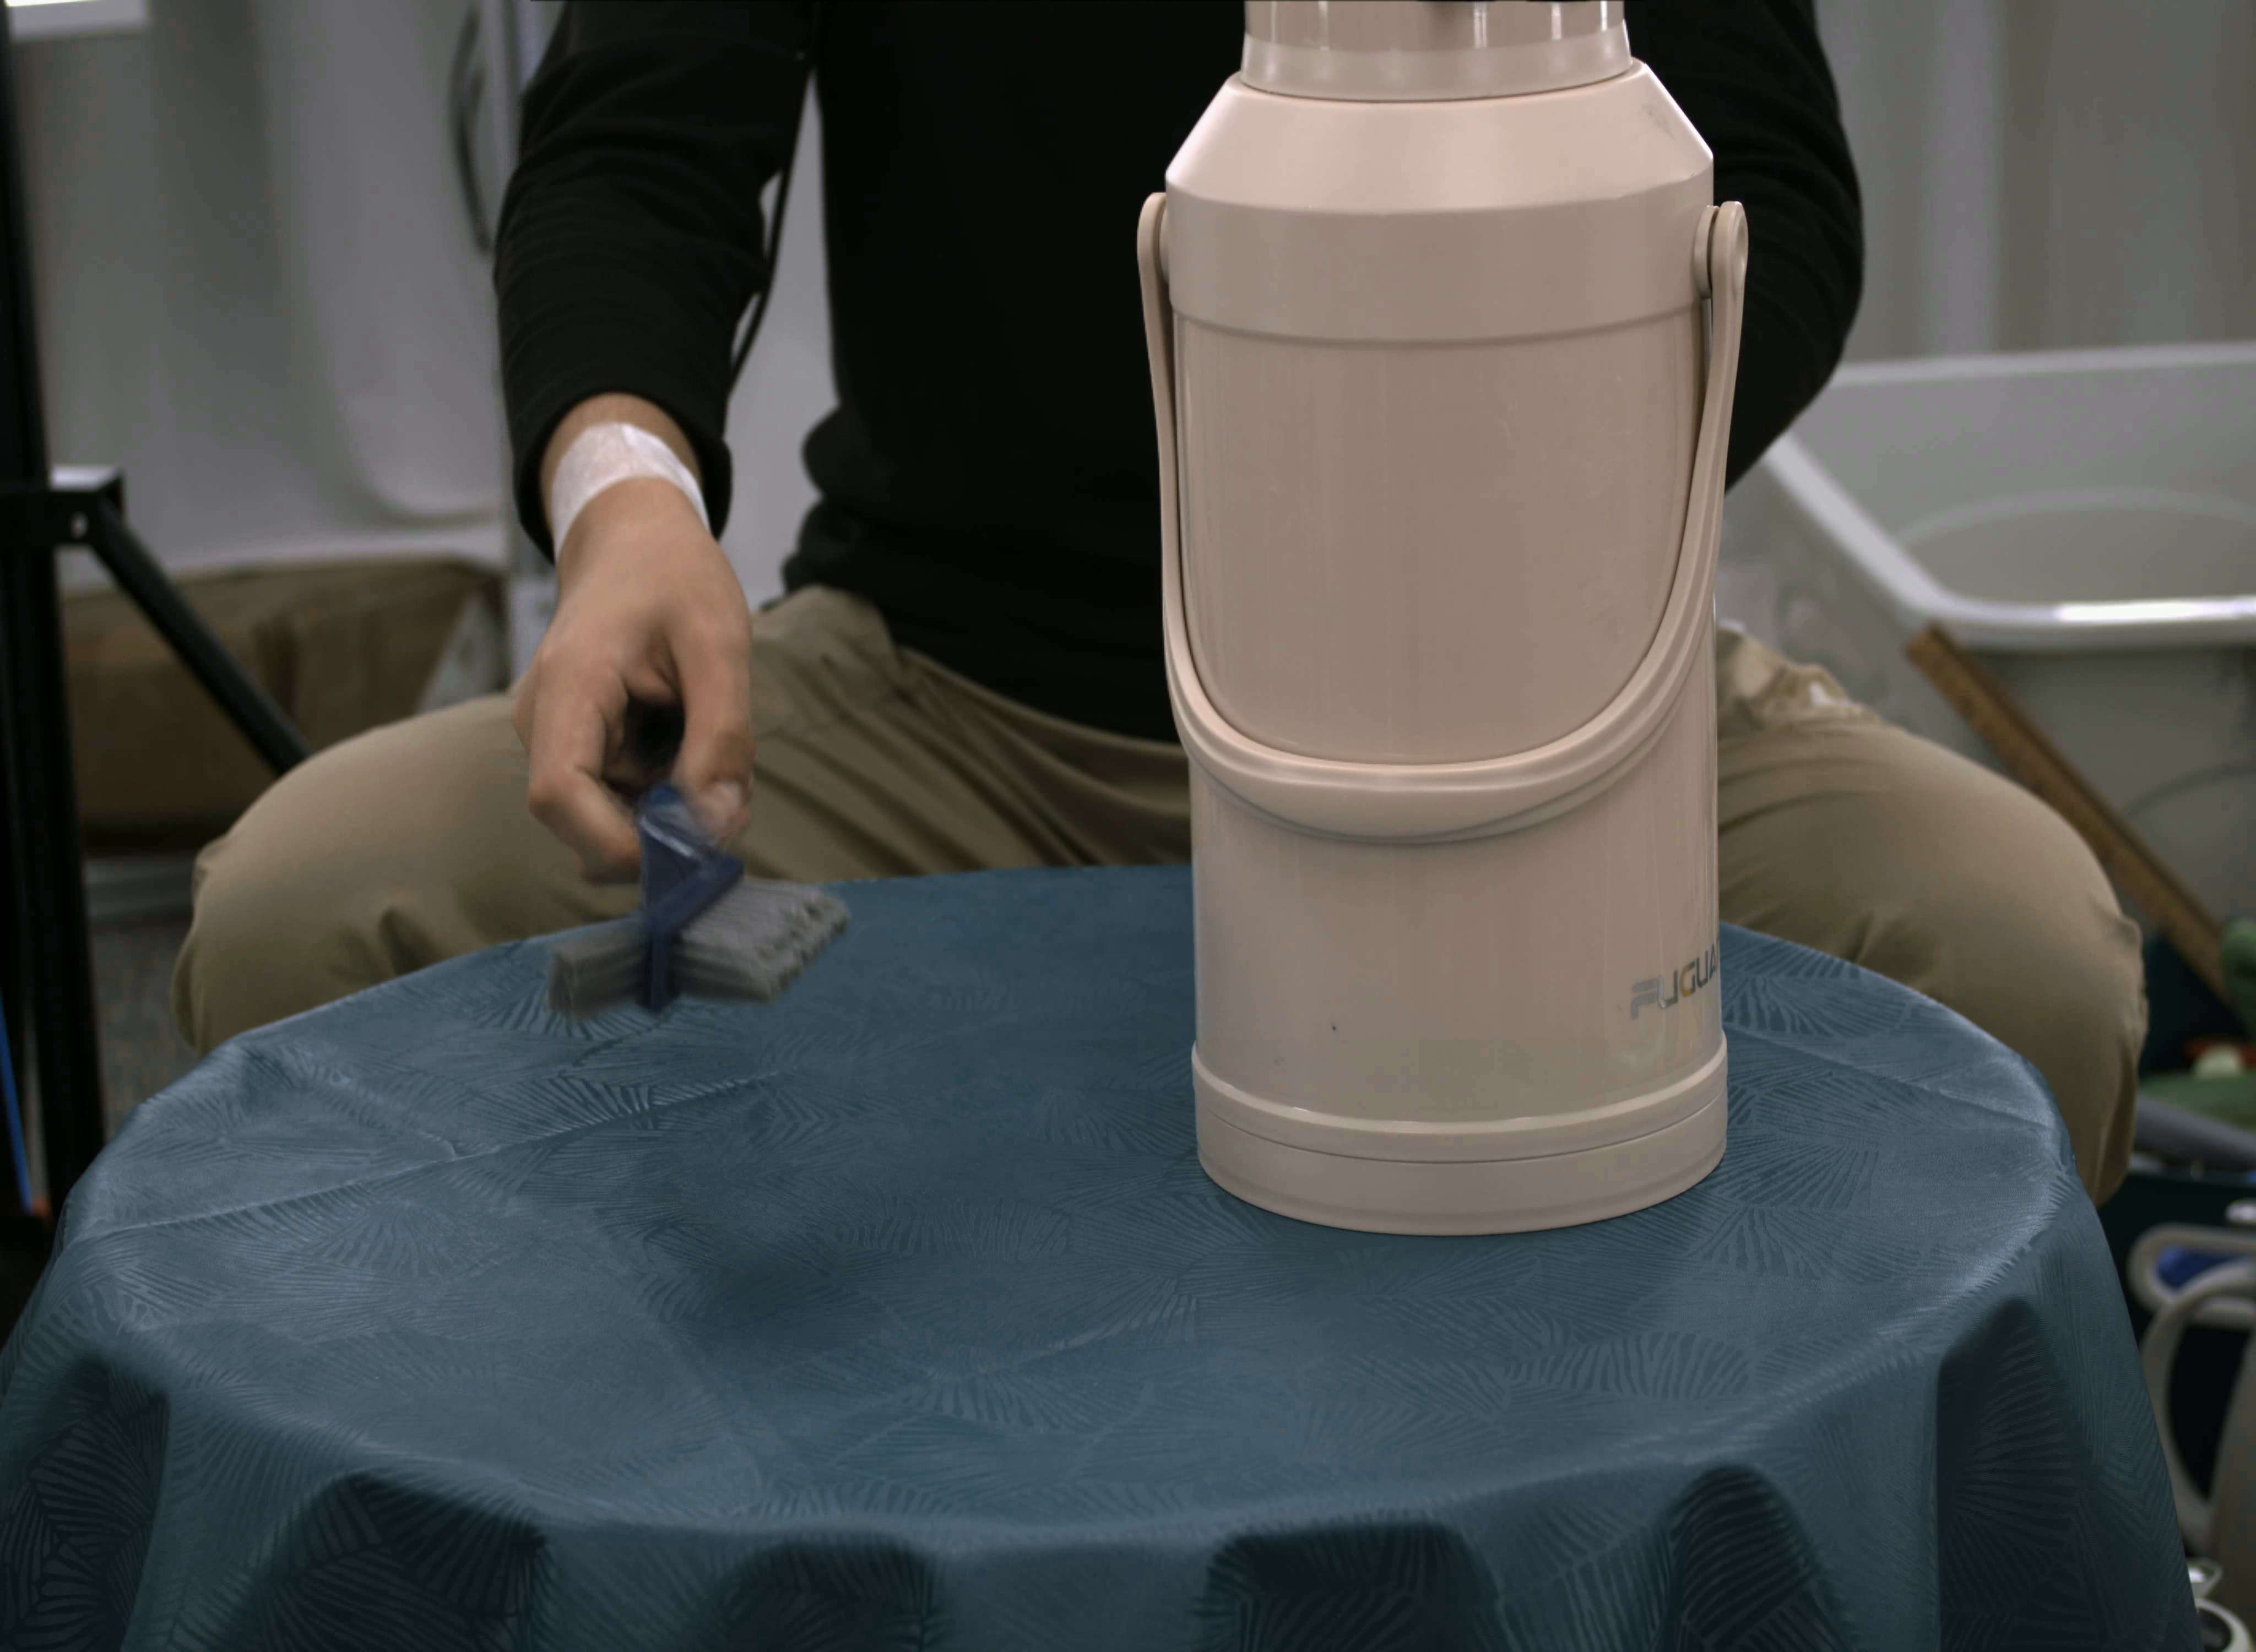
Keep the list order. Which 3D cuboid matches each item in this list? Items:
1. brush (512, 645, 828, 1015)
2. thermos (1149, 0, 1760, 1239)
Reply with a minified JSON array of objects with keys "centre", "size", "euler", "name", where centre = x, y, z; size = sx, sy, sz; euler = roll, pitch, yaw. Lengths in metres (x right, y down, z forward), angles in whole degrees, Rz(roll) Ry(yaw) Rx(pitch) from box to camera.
[{"centre":[-0.146,-0.002,1.609],"size":[0.094,0.033,0.276],"euler":[-1,18,-10],"name":"brush"},{"centre":[0.100,-0.098,1.544],"size":[0.177,0.406,0.205],"euler":[2,16,19],"name":"thermos"}]
